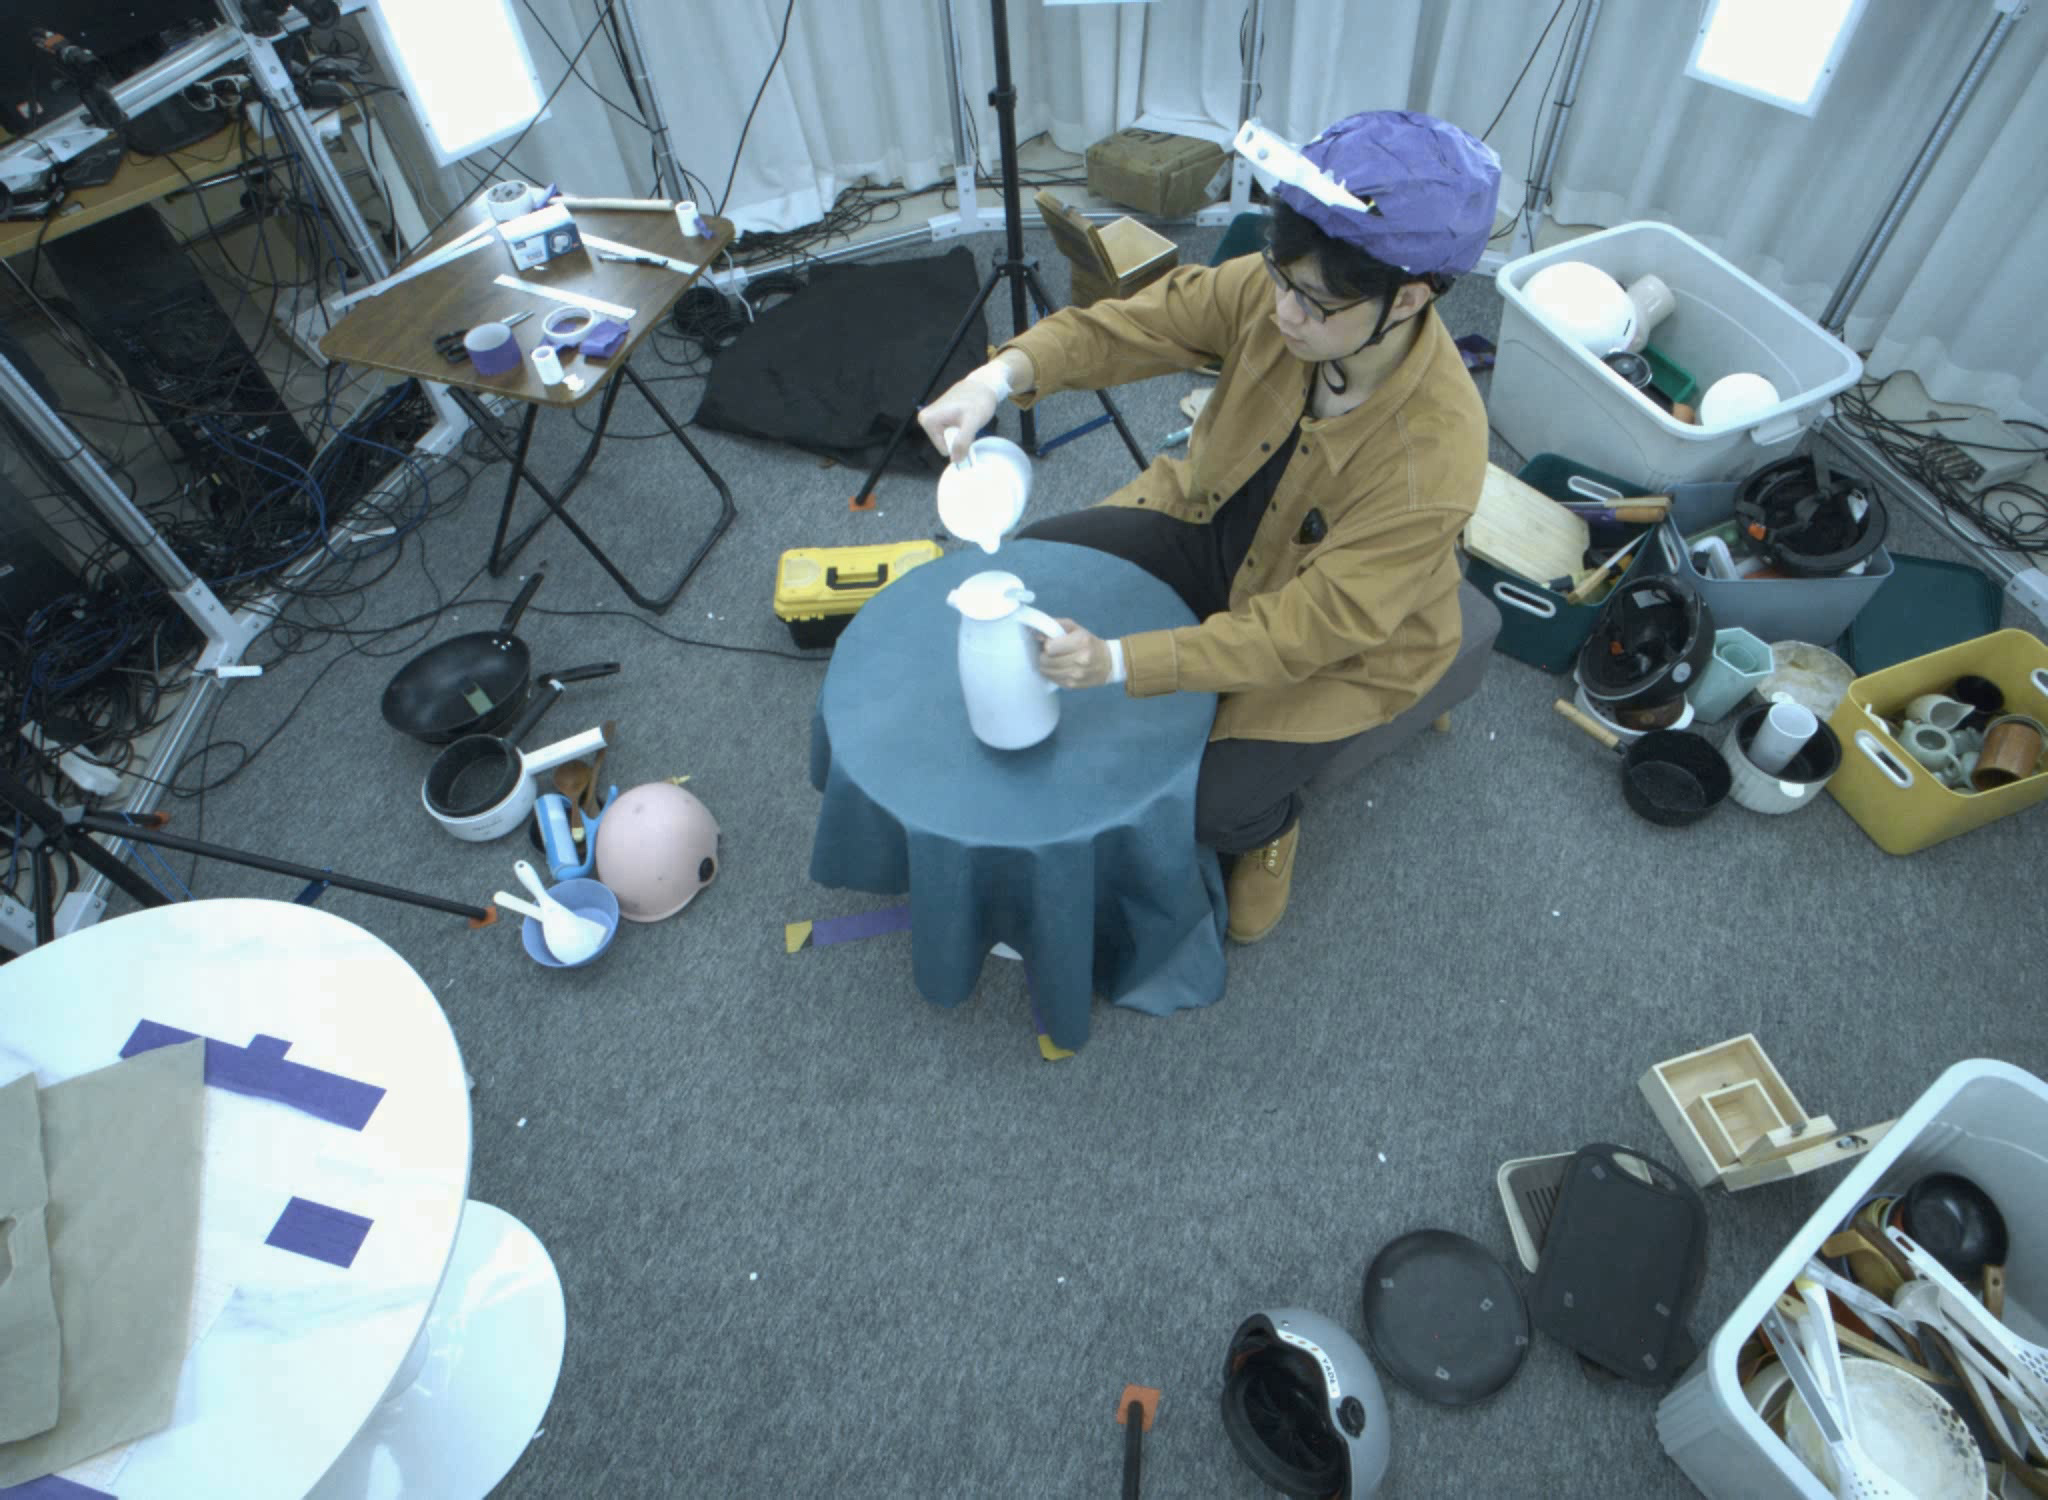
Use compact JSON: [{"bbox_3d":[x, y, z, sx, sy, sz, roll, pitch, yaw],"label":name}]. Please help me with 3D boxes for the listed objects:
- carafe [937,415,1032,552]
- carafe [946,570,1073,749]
[{"bbox_3d":[-0.061,-0.374,1.660,0.123,0.174,0.268,-14,19,11],"label":"carafe"},{"bbox_3d":[-0.012,-0.127,1.674,0.166,0.252,0.132,12,54,17],"label":"carafe"}]
